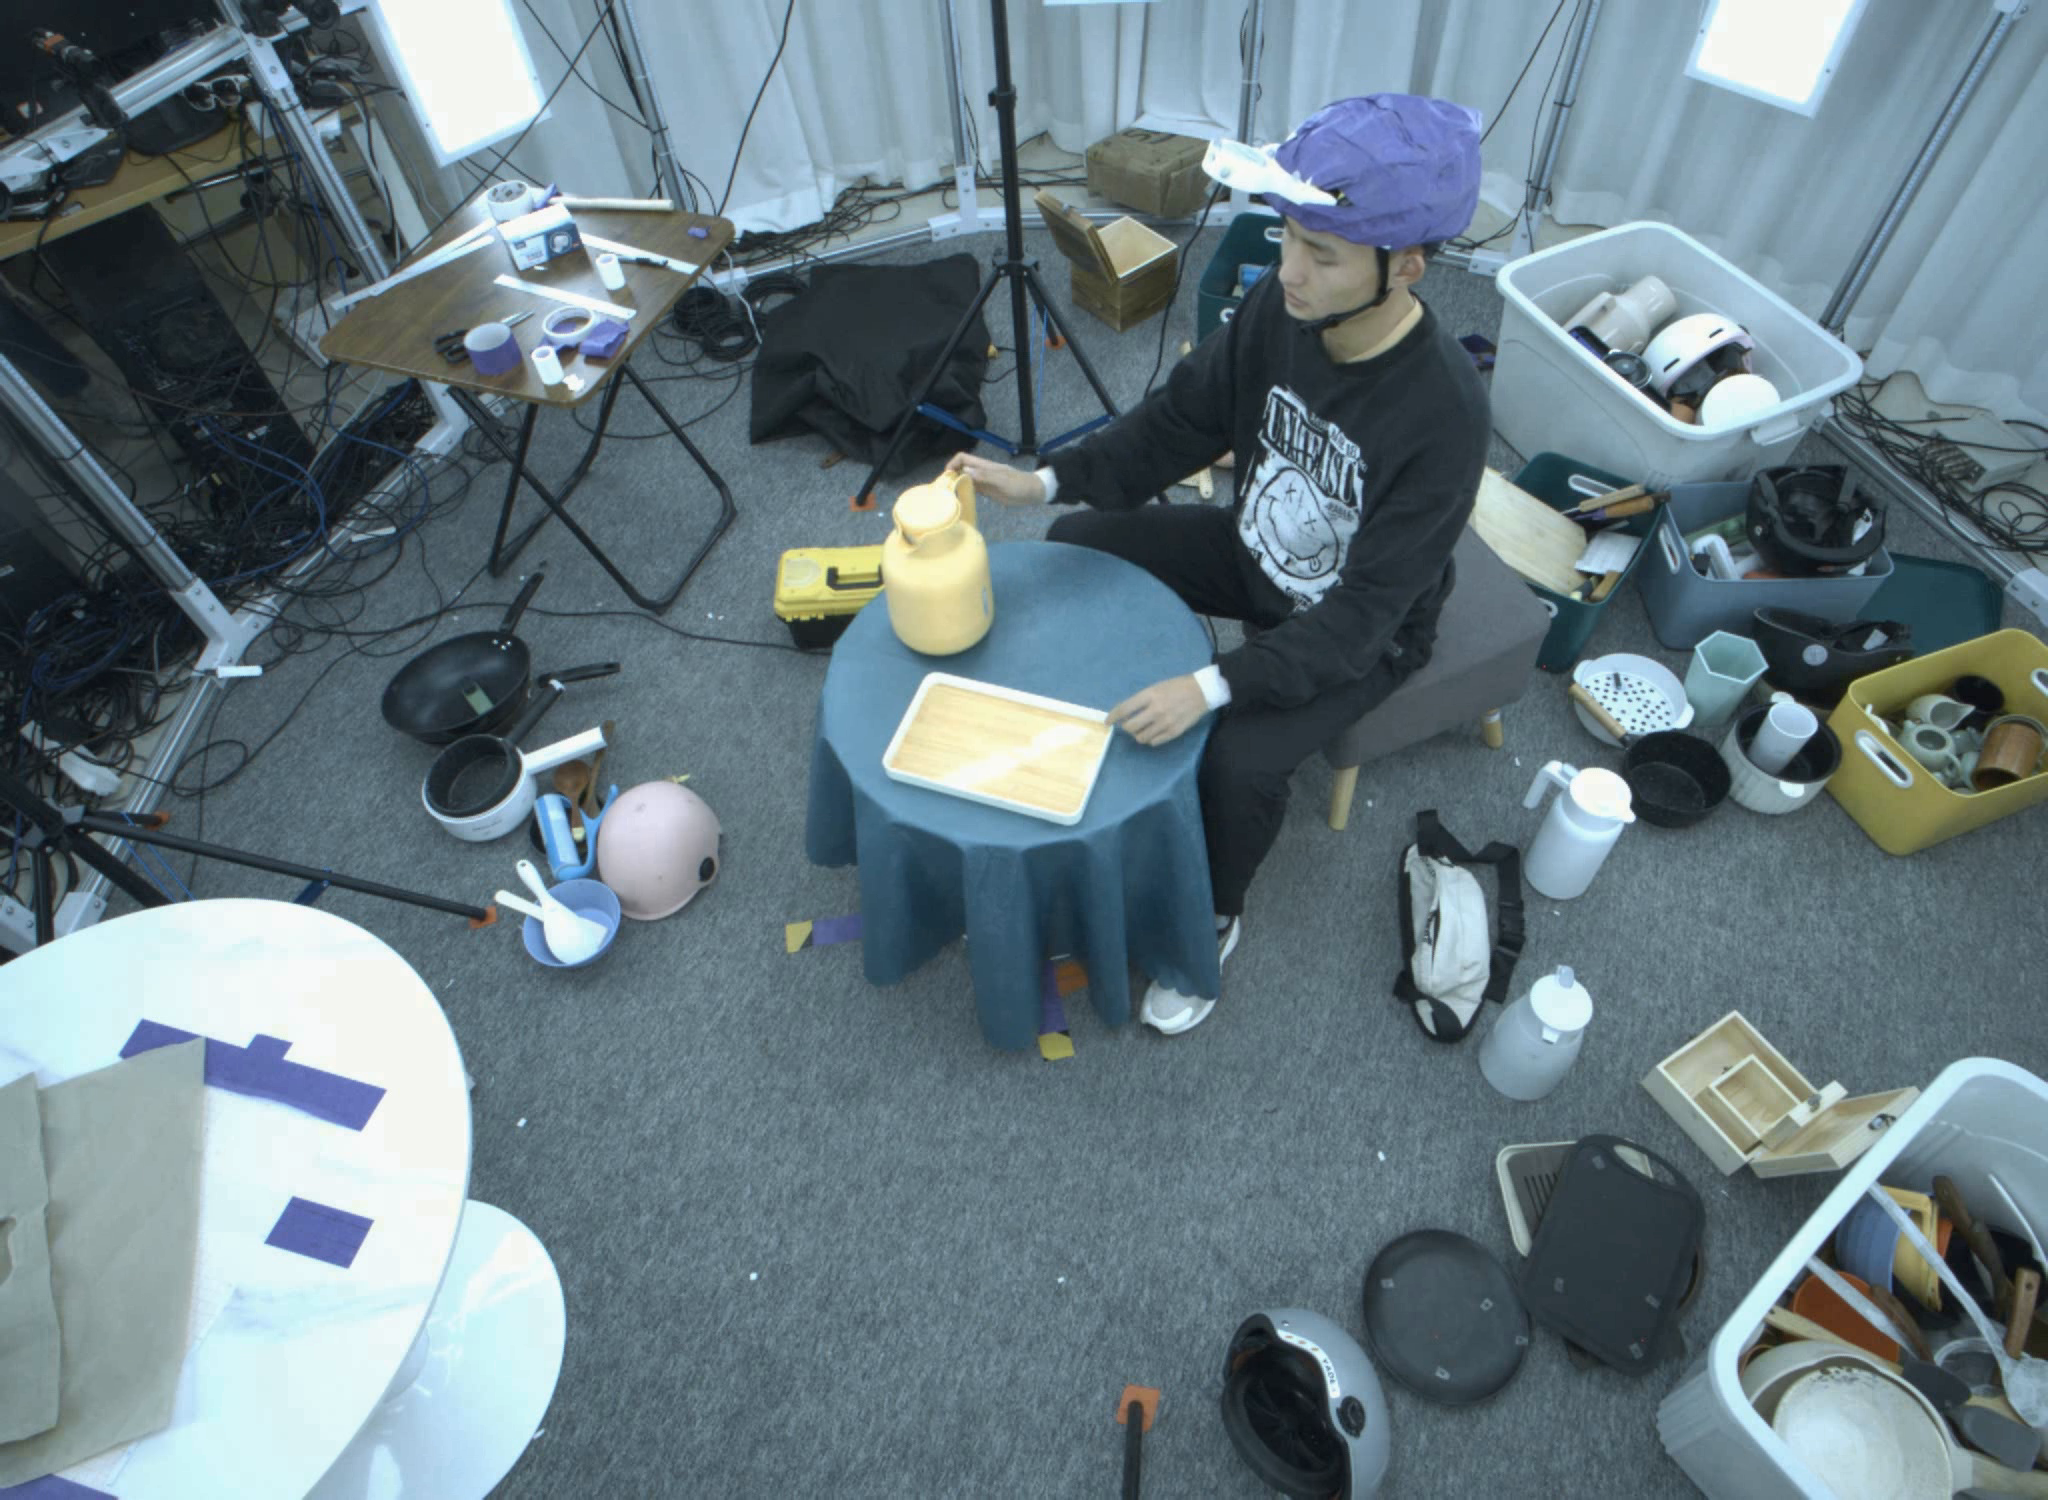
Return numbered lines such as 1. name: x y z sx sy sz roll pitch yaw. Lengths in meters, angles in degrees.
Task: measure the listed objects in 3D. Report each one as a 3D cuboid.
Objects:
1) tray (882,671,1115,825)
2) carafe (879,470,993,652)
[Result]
1. tray: -0.036 -0.006 1.773 0.297 0.028 0.191 15 57 12
2. carafe: -0.125 -0.289 1.832 0.161 0.263 0.202 22 60 15
